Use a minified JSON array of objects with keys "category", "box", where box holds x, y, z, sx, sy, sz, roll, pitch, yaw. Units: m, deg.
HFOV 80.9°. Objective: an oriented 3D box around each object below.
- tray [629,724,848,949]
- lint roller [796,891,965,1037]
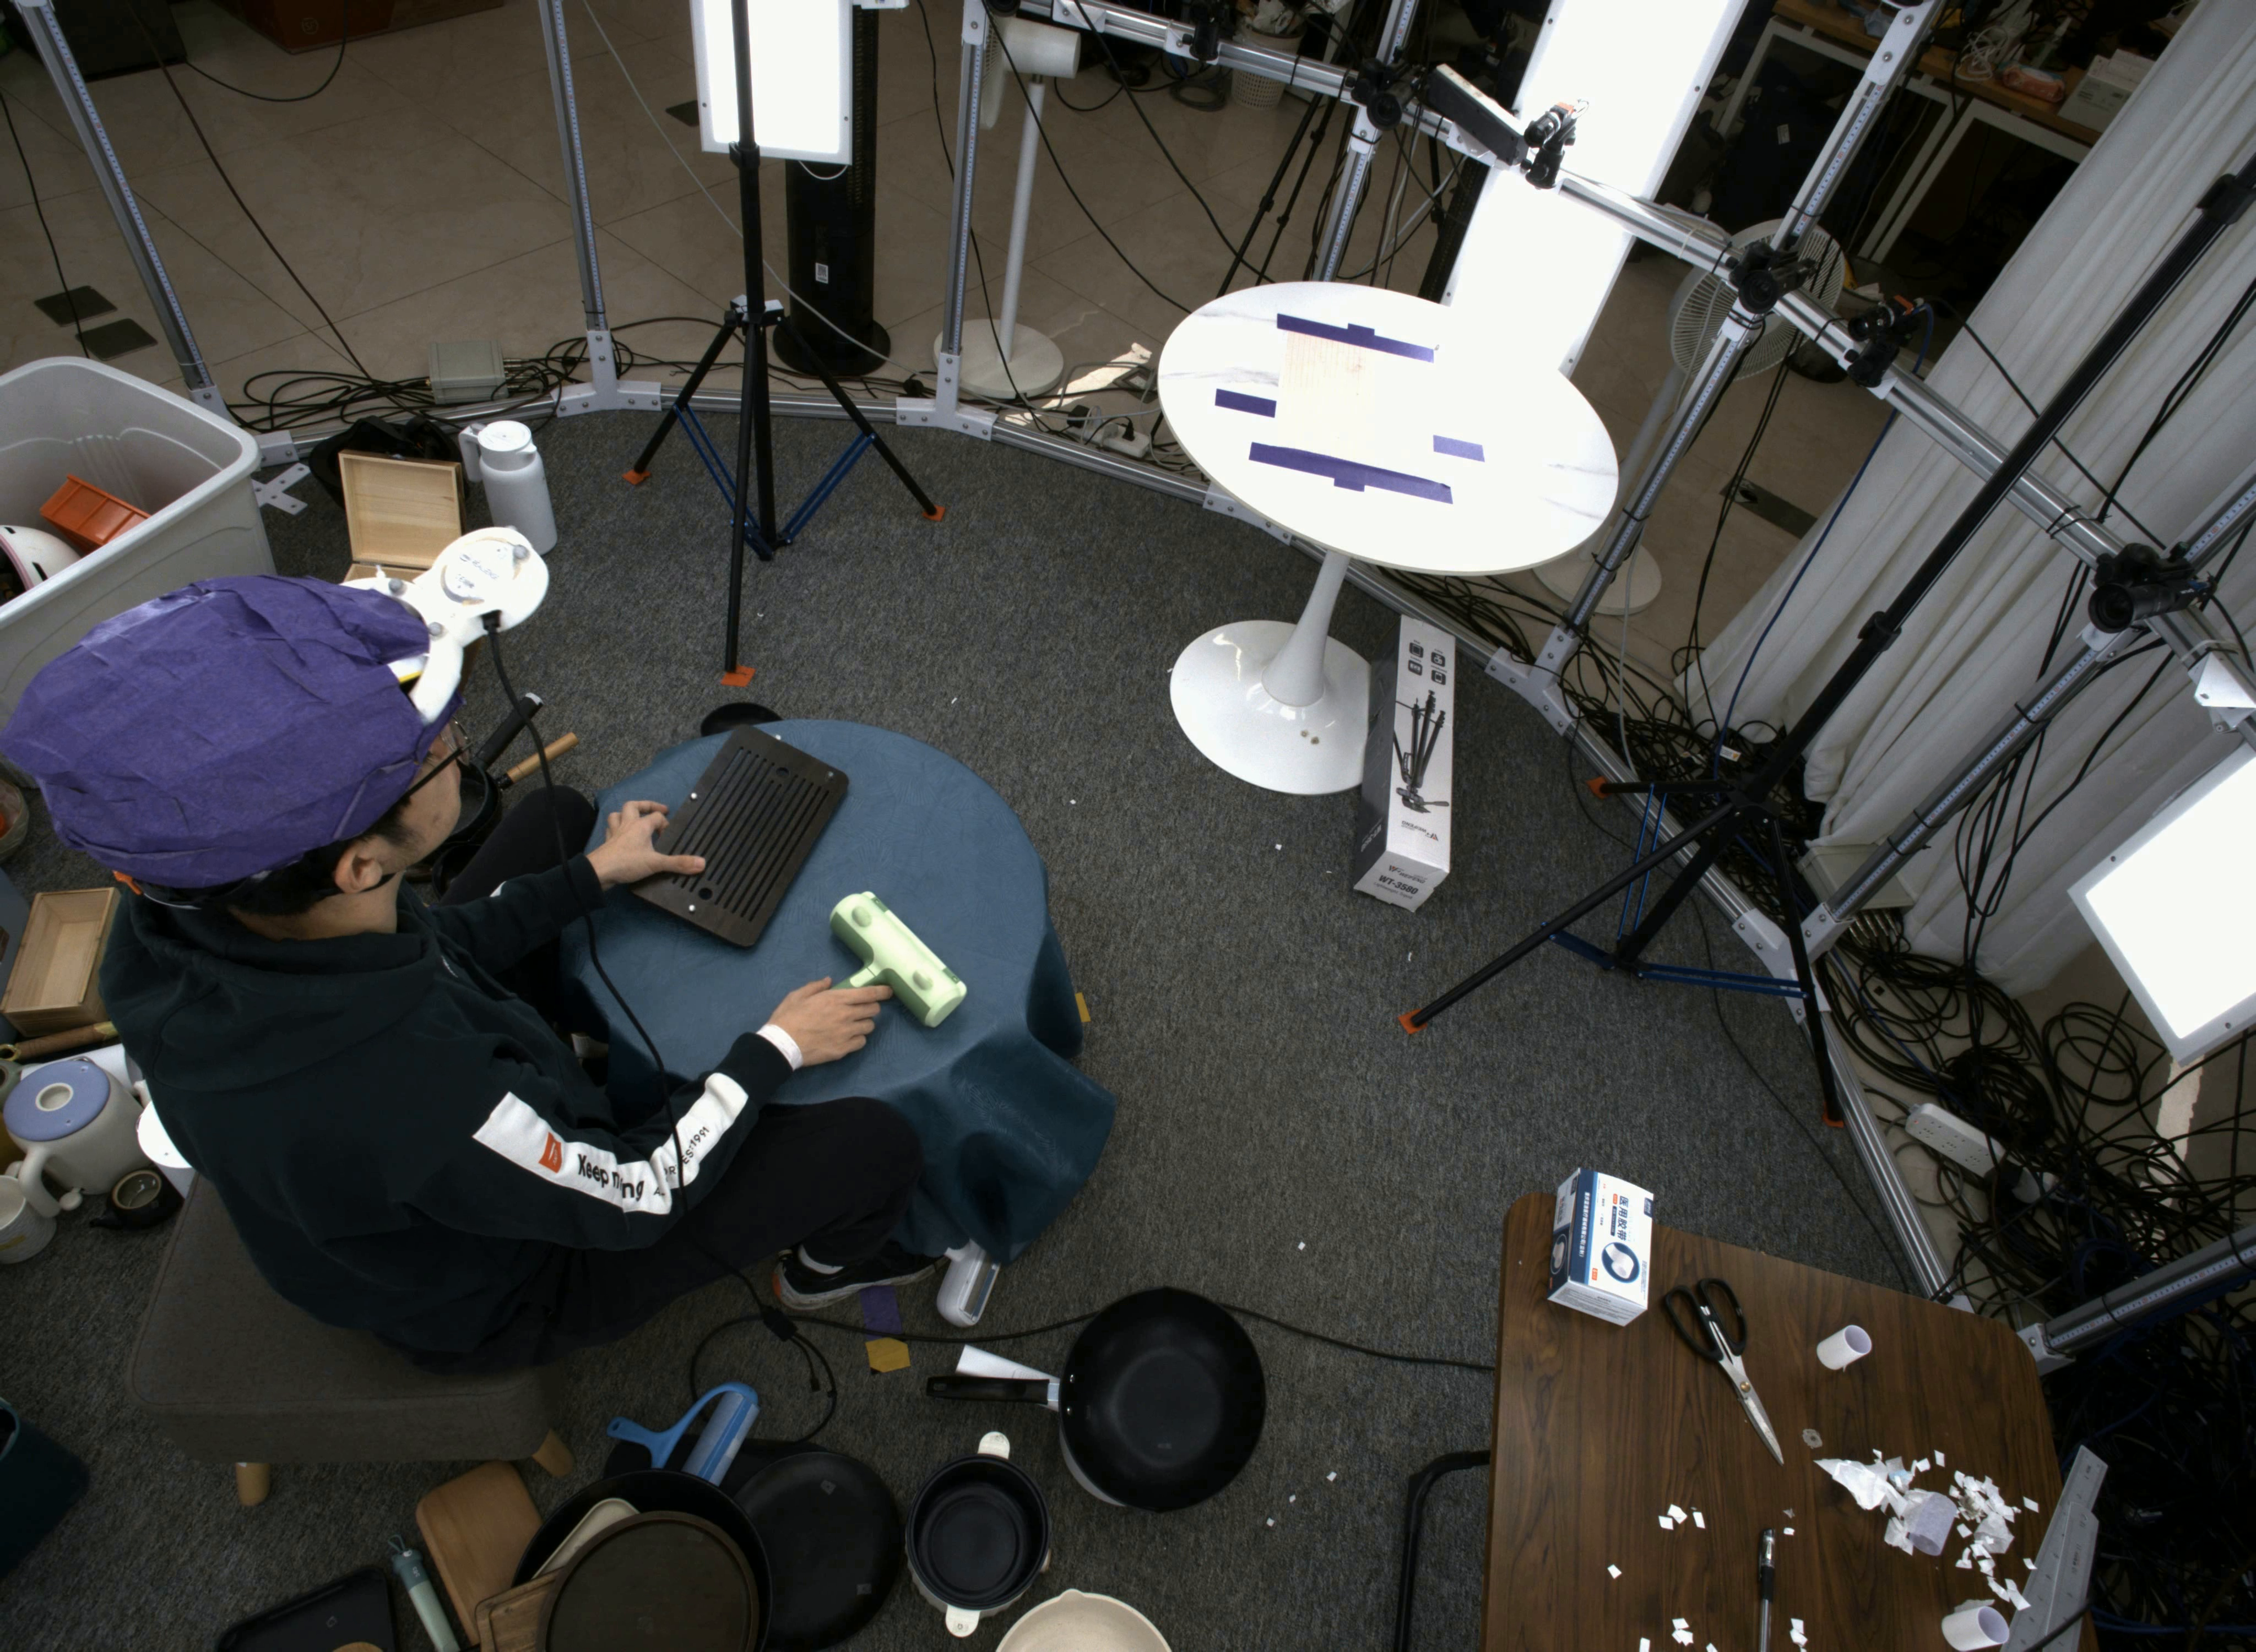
[{"category":"tray","box":[-0.500,0.007,1.674,0.171,0.019,0.303,28,52,-8]},{"category":"lint roller","box":[-0.325,0.182,1.570,0.194,0.084,0.184,42,52,17]}]
